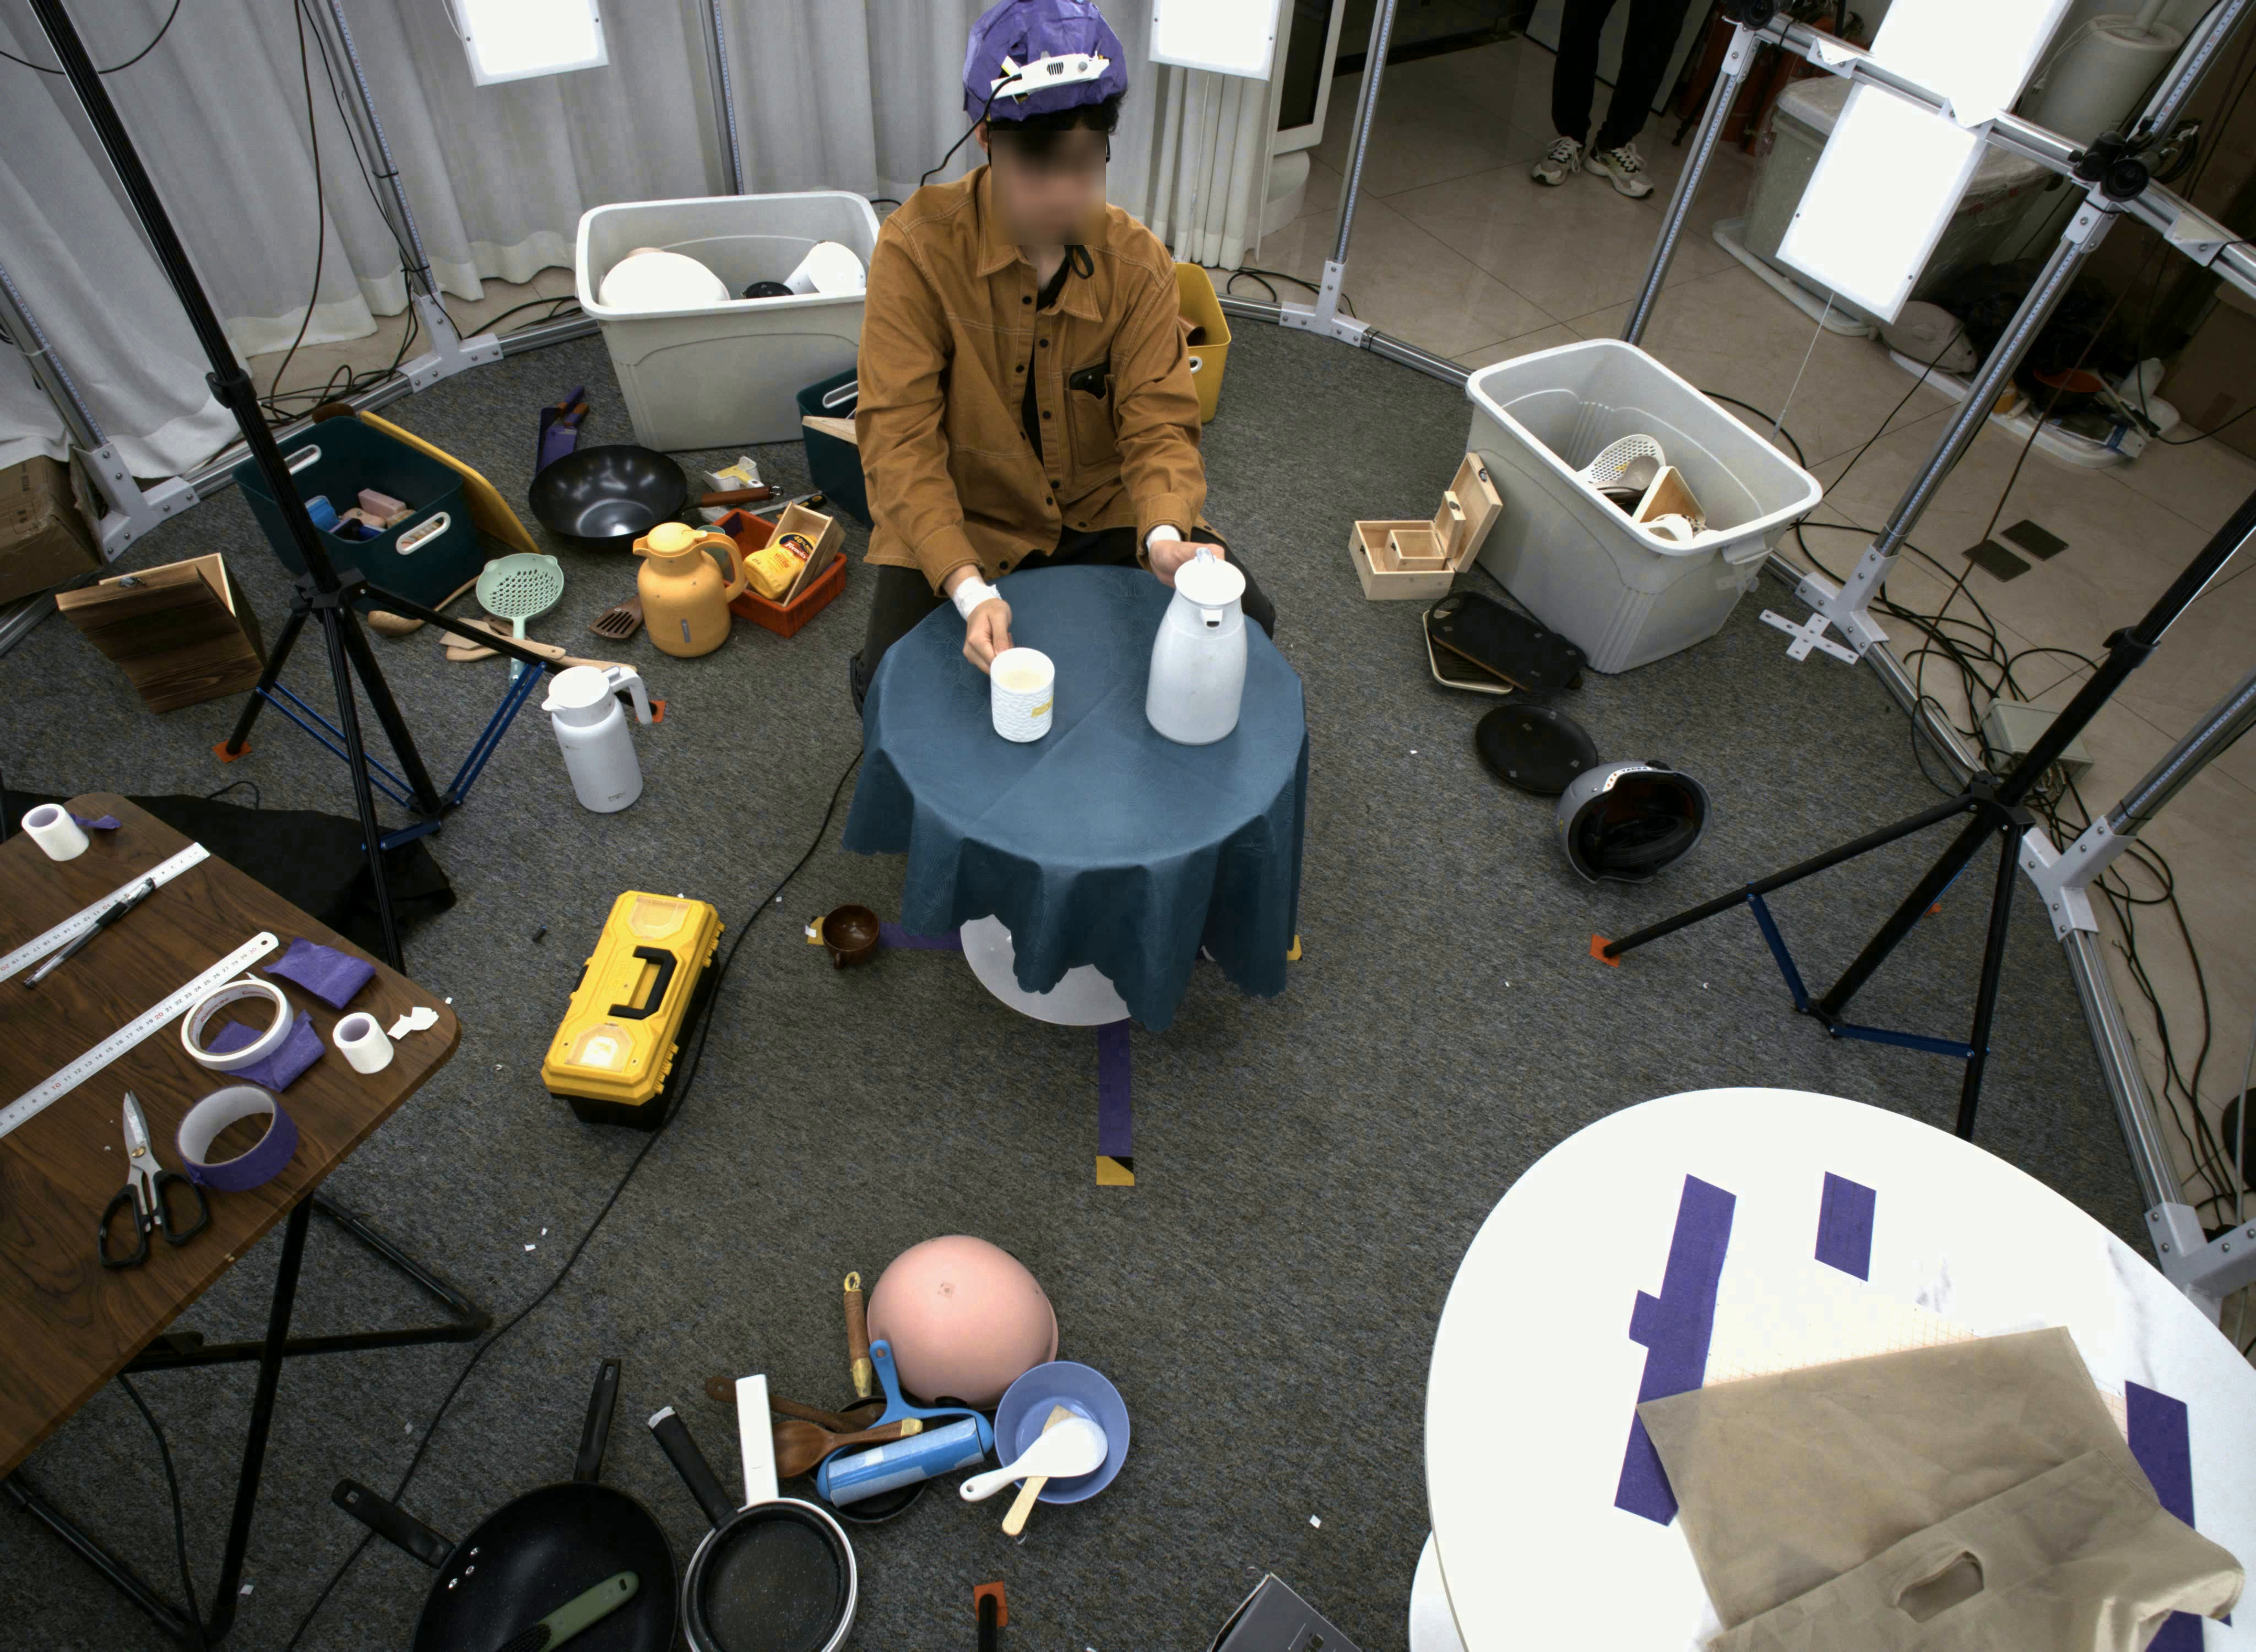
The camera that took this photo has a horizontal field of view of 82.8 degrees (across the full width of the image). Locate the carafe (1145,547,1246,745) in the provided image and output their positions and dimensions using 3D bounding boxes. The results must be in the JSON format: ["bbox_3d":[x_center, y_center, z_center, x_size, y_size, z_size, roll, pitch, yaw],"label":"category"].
[{"bbox_3d":[0.094,-0.255,1.736,0.132,0.242,0.172,-2,49,-5],"label":"carafe"}]

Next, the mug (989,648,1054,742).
[{"bbox_3d":[-0.153,-0.187,1.755,0.085,0.099,0.120,-24,55,-22],"label":"mug"}]
